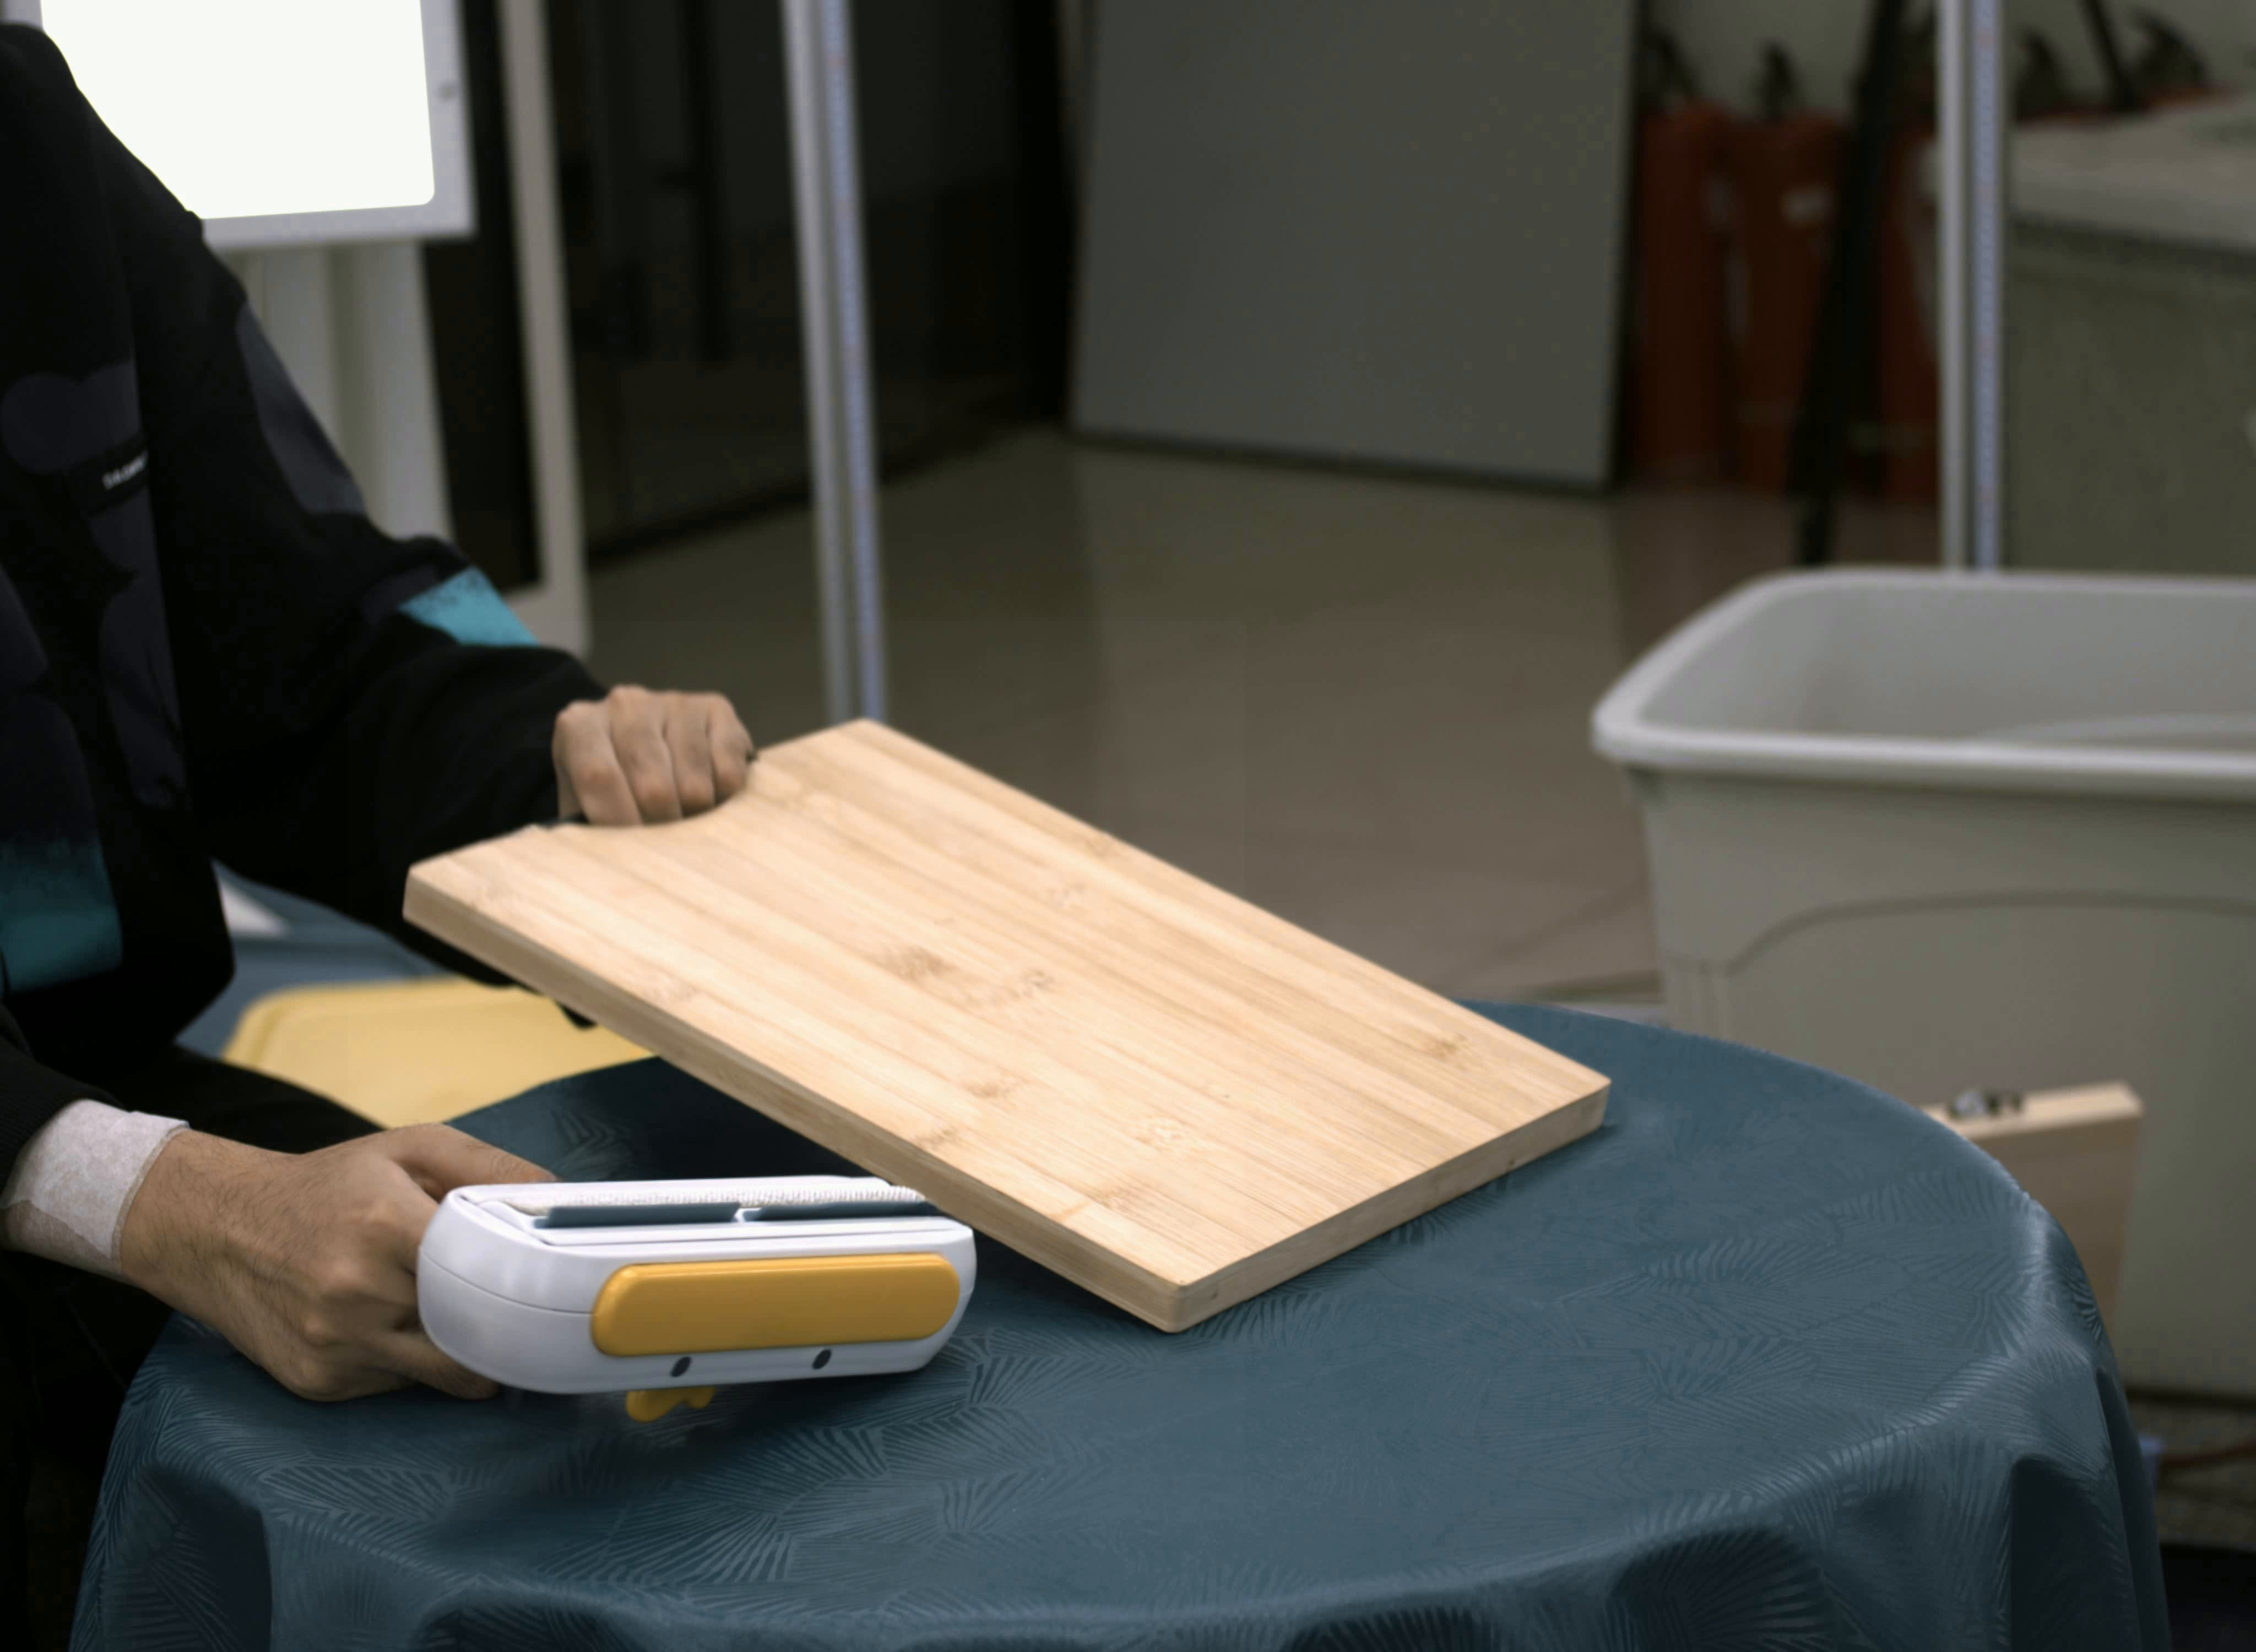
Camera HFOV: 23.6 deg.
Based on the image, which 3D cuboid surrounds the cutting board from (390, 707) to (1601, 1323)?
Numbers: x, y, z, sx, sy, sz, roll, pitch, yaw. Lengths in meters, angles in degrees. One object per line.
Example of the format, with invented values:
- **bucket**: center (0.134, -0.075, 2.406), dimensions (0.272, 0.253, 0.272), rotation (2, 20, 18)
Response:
- **cutting board**: center (-0.045, 0.055, 1.813), dimensions (0.351, 0.024, 0.246), rotation (26, 28, 32)

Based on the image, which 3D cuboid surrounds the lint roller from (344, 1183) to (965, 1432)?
- **lint roller**: center (-0.169, 0.132, 1.612), dimensions (0.188, 0.075, 0.194), rotation (-2, 9, -42)
